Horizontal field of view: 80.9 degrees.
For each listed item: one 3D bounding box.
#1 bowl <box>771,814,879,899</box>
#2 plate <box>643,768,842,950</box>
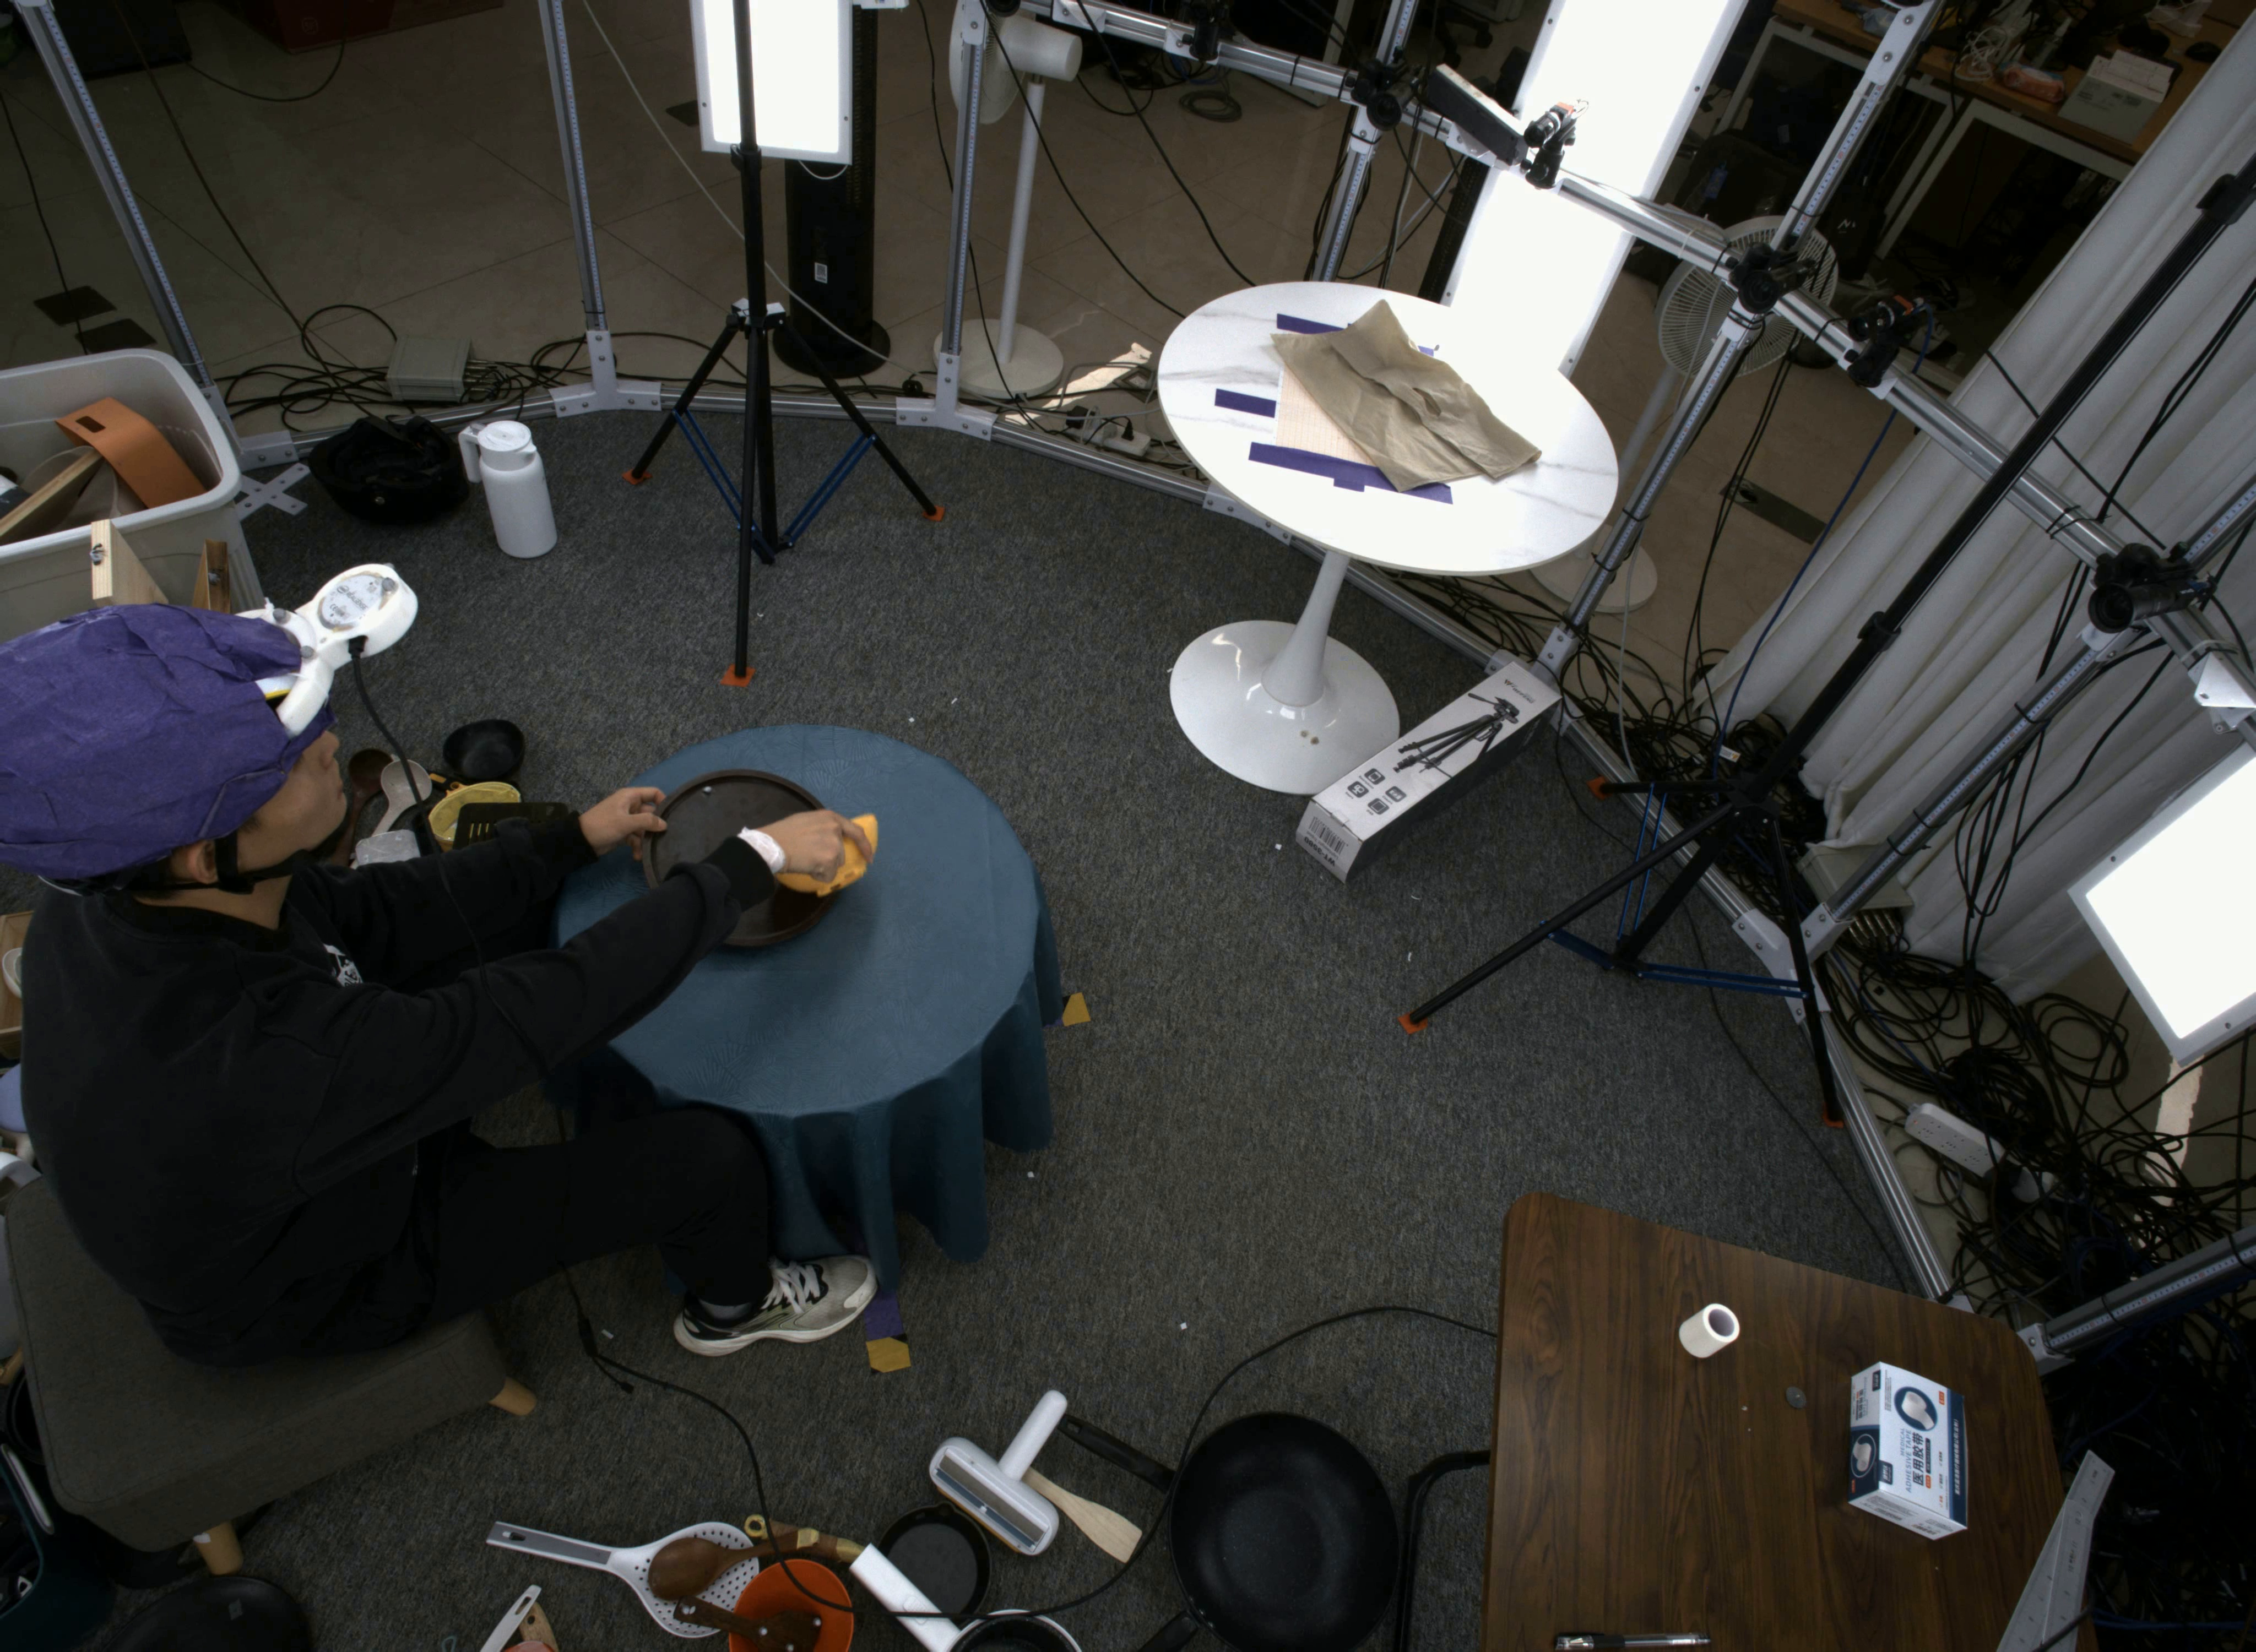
[{"bbox_3d":[-0.363,0.046,1.601,0.146,0.144,0.060,-28,86,-30],"label":"bowl"},{"bbox_3d":[-0.484,0.039,1.638,0.257,0.029,0.251,13,59,-20],"label":"plate"}]
